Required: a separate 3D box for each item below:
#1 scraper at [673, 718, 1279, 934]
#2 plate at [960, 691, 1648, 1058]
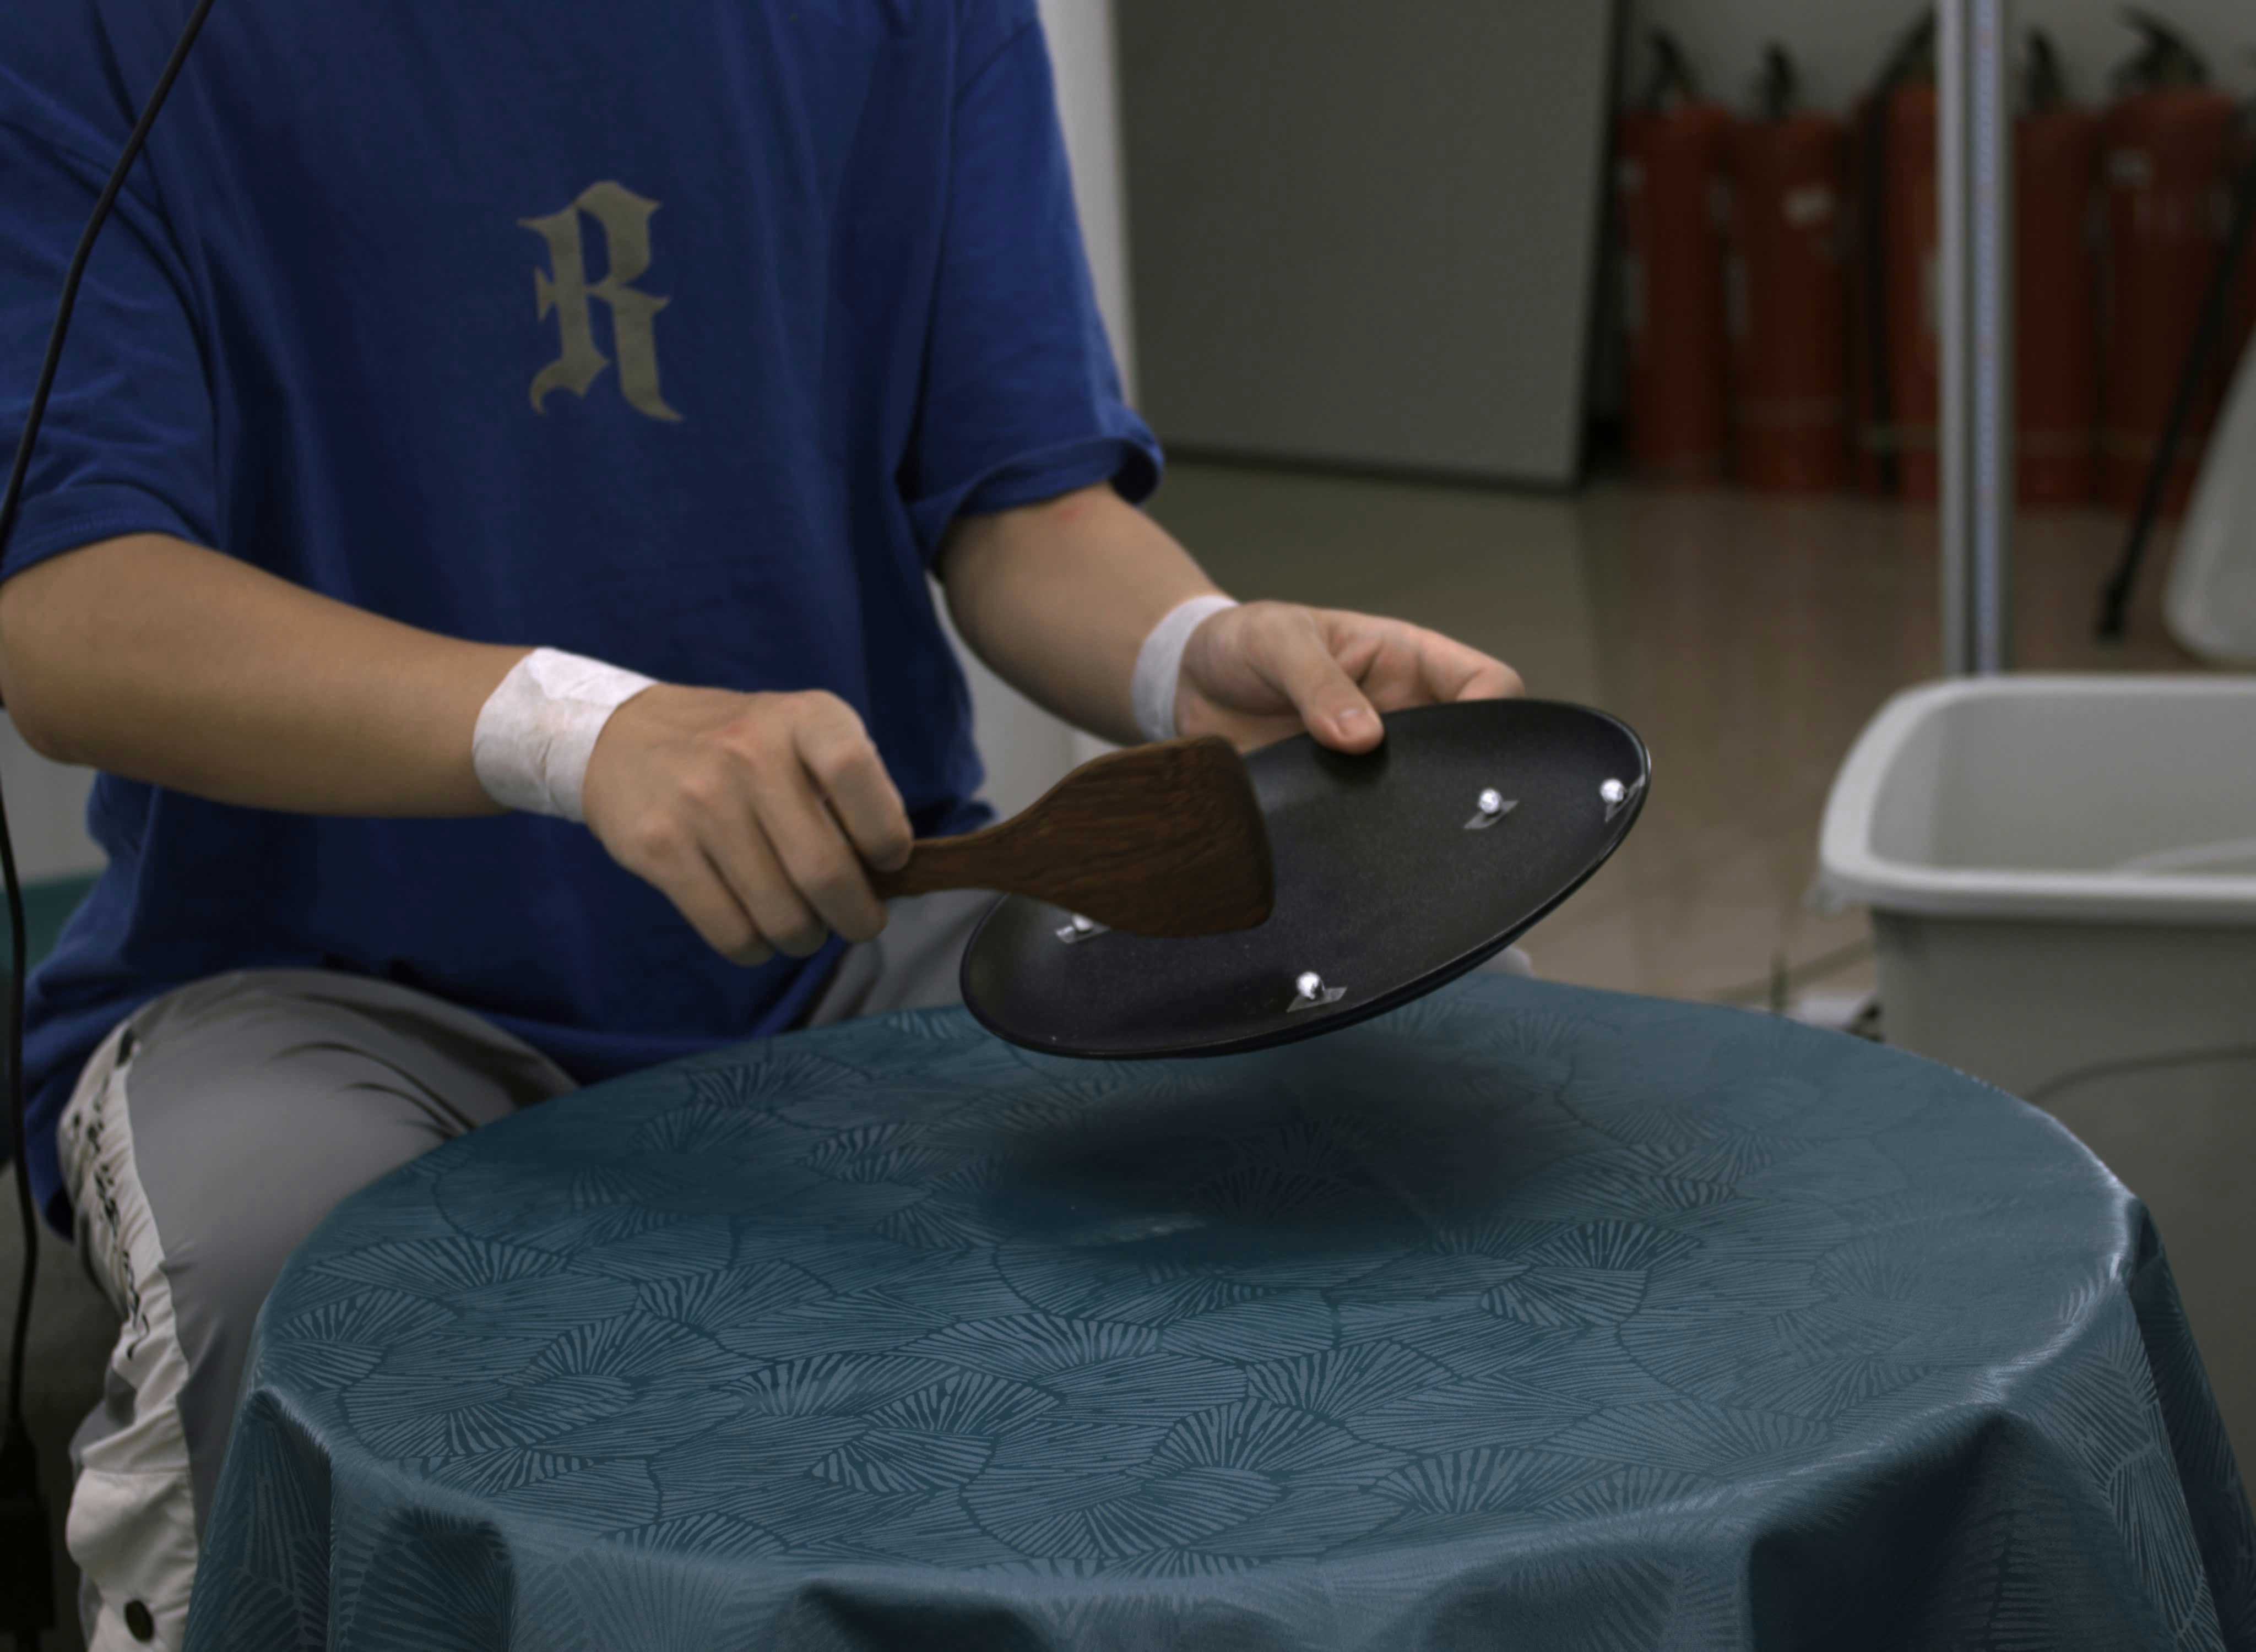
[{"bbox_3d":[-0.053,0.010,1.778,0.211,0.076,0.011,-7,27,21],"label":"scraper"},{"bbox_3d":[0.060,0.022,1.790,0.242,0.023,0.245,-19,21,6],"label":"plate"}]
